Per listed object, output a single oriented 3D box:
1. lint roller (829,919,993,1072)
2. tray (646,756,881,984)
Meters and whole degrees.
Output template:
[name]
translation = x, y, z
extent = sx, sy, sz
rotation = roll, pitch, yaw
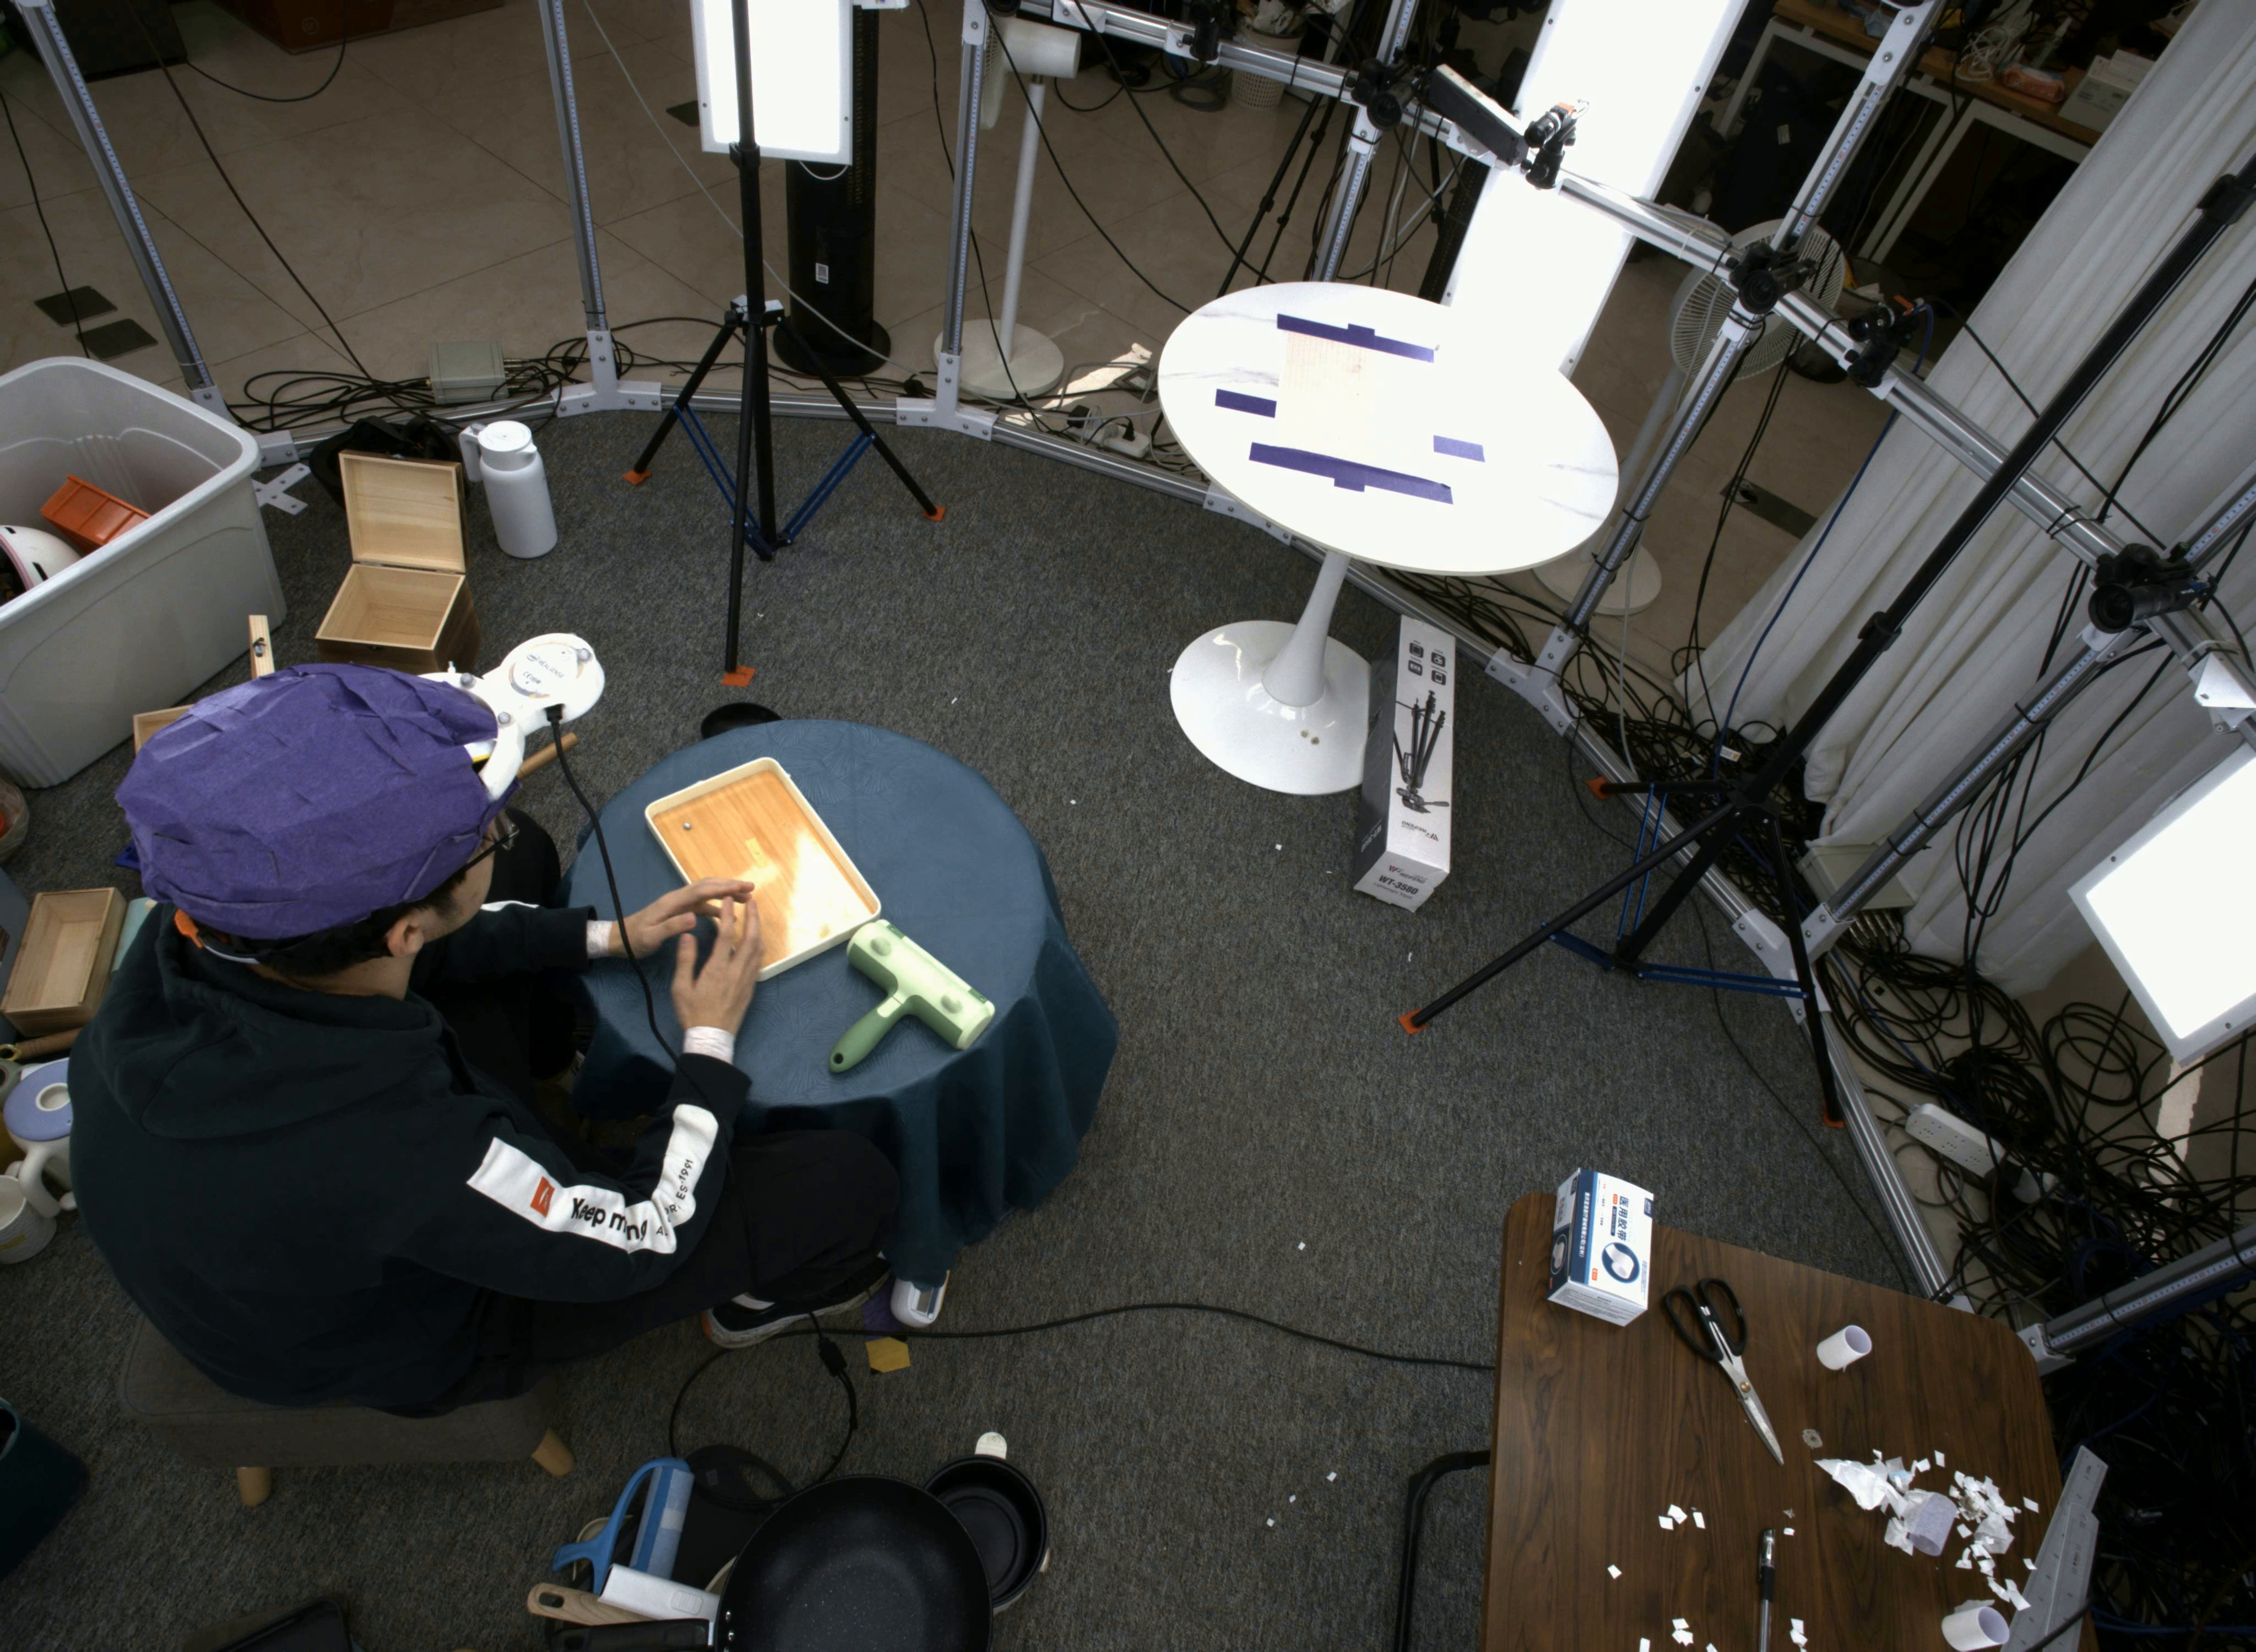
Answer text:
[lint roller]
translation = -0.289, 0.215, 1.556
extent = 0.195, 0.084, 0.183
rotation = 36, 50, 13
[tray]
translation = -0.471, 0.048, 1.665
extent = 0.192, 0.028, 0.293
rotation = -28, 65, -29
